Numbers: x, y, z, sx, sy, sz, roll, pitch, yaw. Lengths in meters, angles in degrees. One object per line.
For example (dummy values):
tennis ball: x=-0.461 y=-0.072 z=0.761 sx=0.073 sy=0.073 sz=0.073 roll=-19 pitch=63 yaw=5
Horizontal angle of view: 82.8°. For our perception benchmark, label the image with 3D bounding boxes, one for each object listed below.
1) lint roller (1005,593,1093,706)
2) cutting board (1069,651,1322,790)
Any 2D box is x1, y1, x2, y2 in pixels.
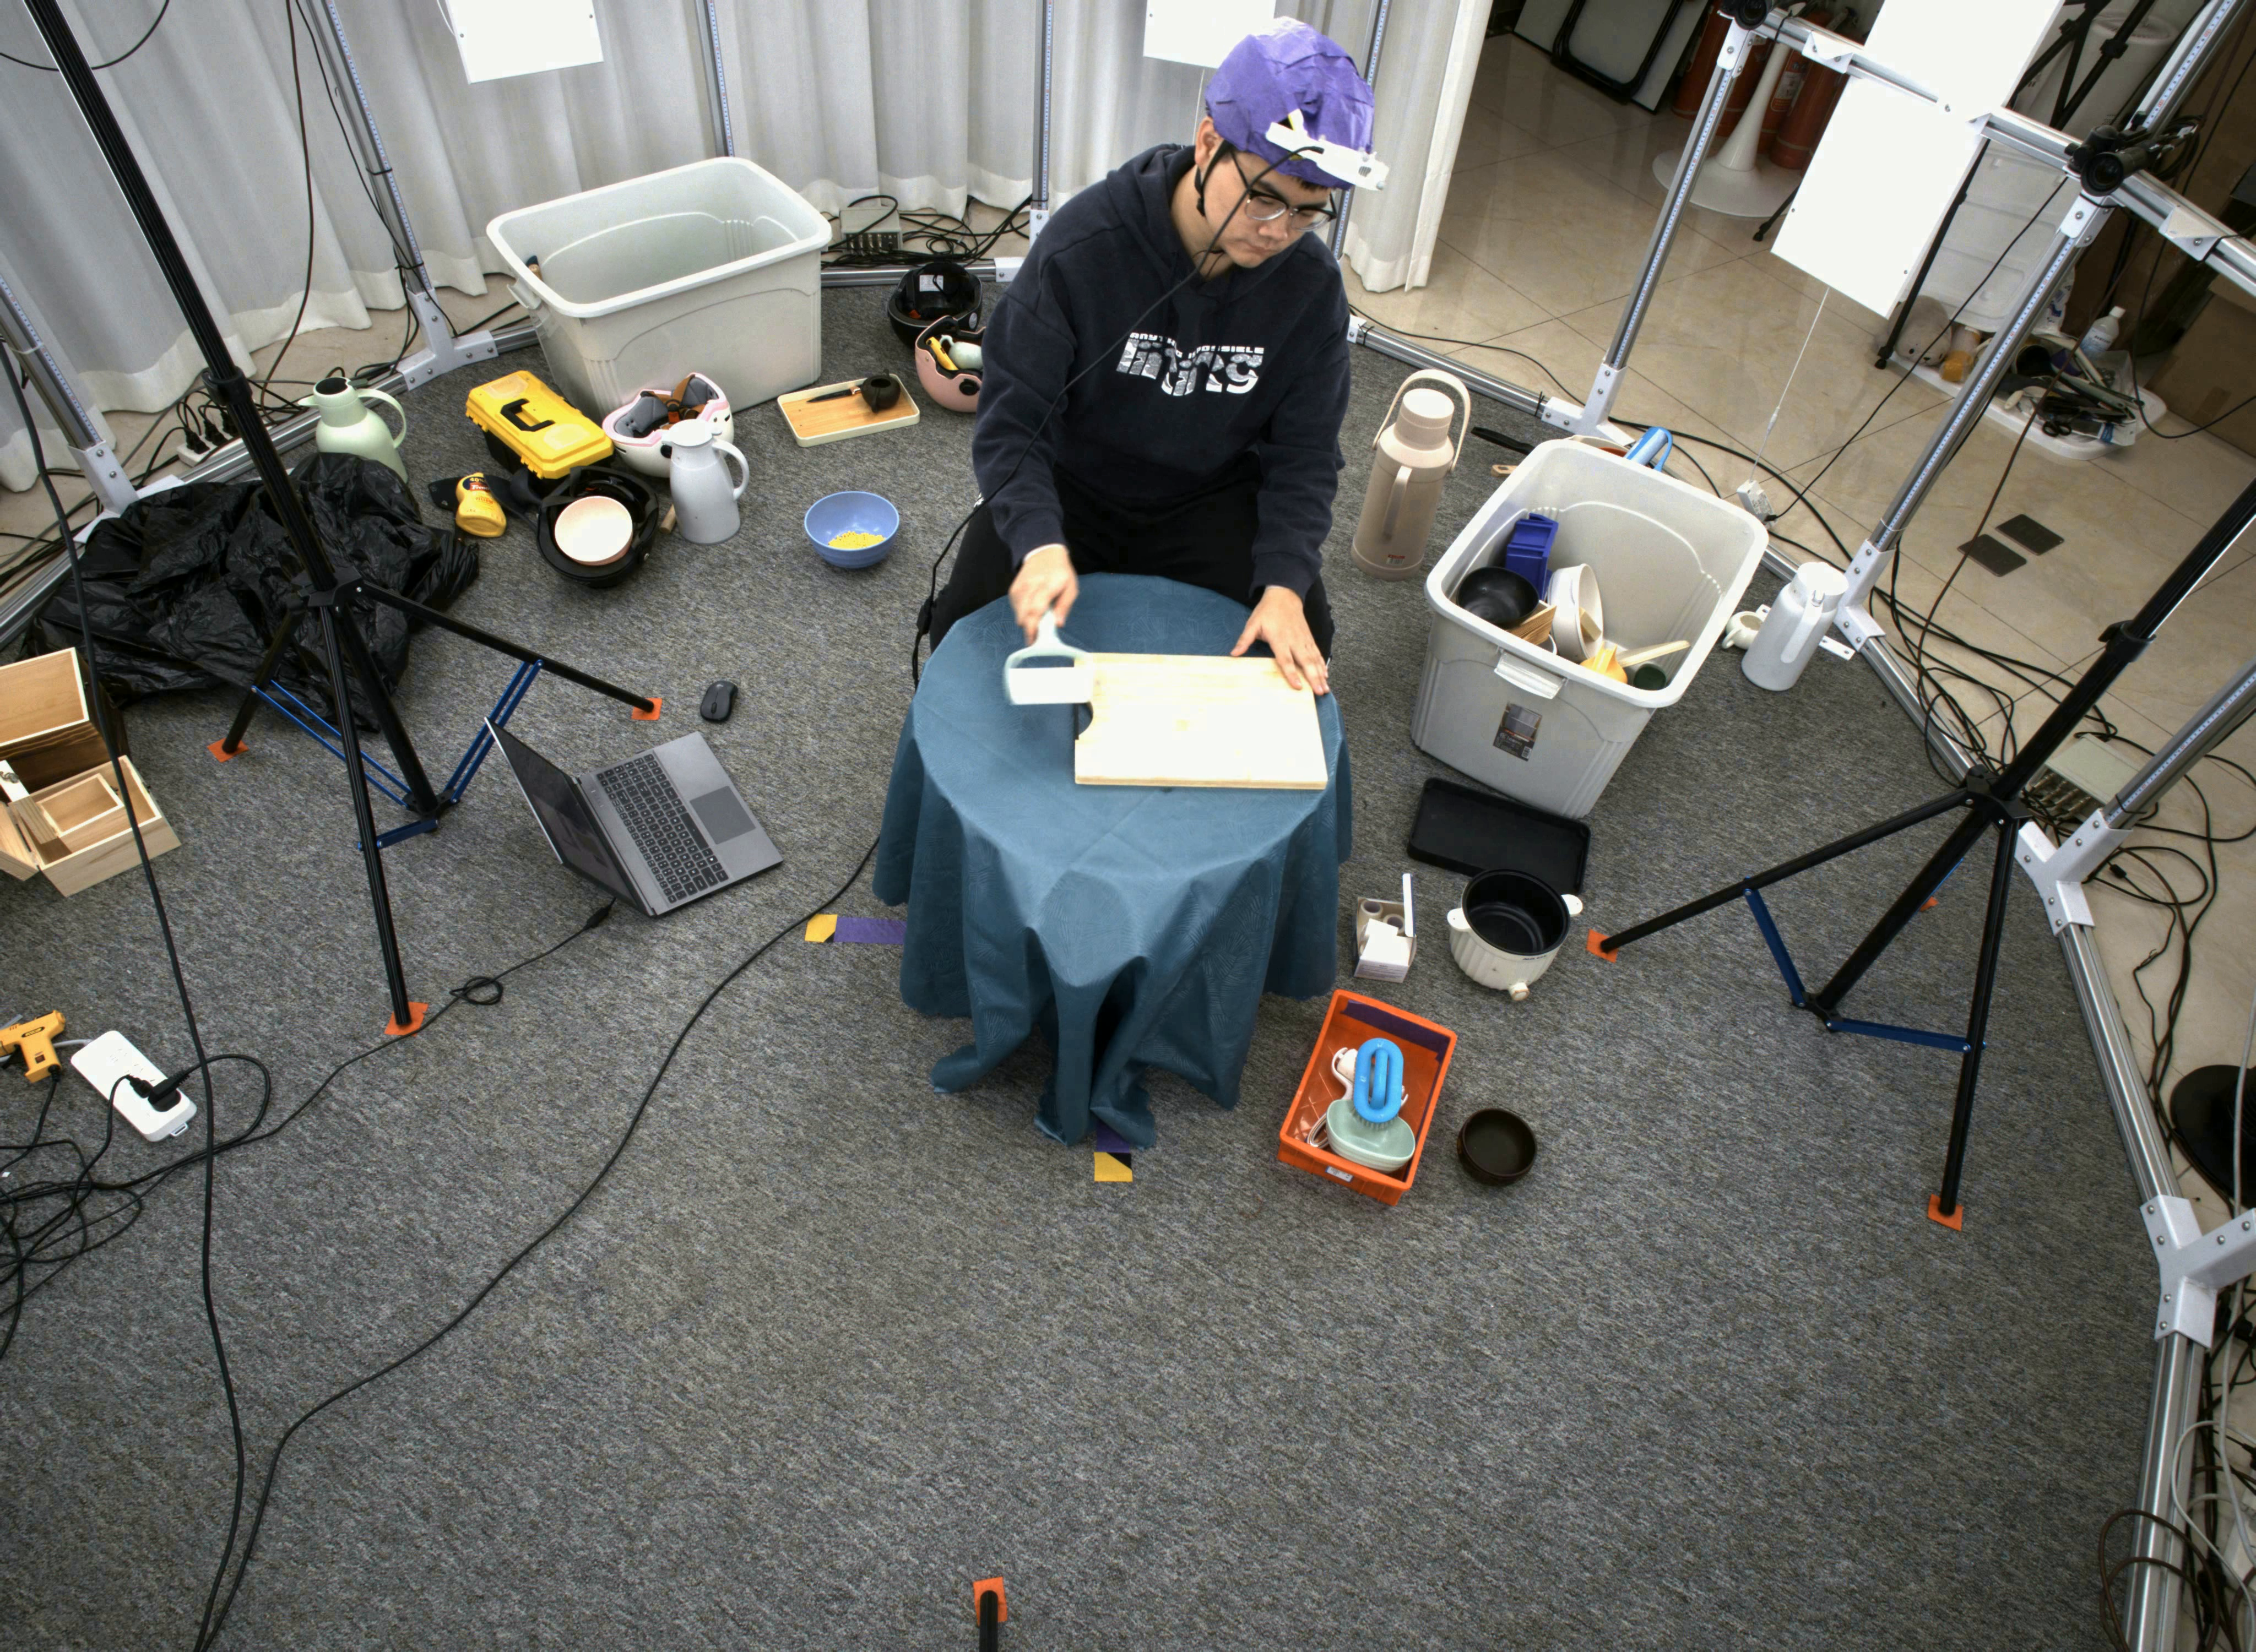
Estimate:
lint roller: x=-0.111 y=-0.248 z=1.740 sx=0.116 sy=0.047 sz=0.202 roll=-3 pitch=57 yaw=-5
cutting board: x=0.090 y=-0.151 z=1.793 sx=0.348 sy=0.023 sz=0.257 roll=1 pitch=48 yaw=-4
